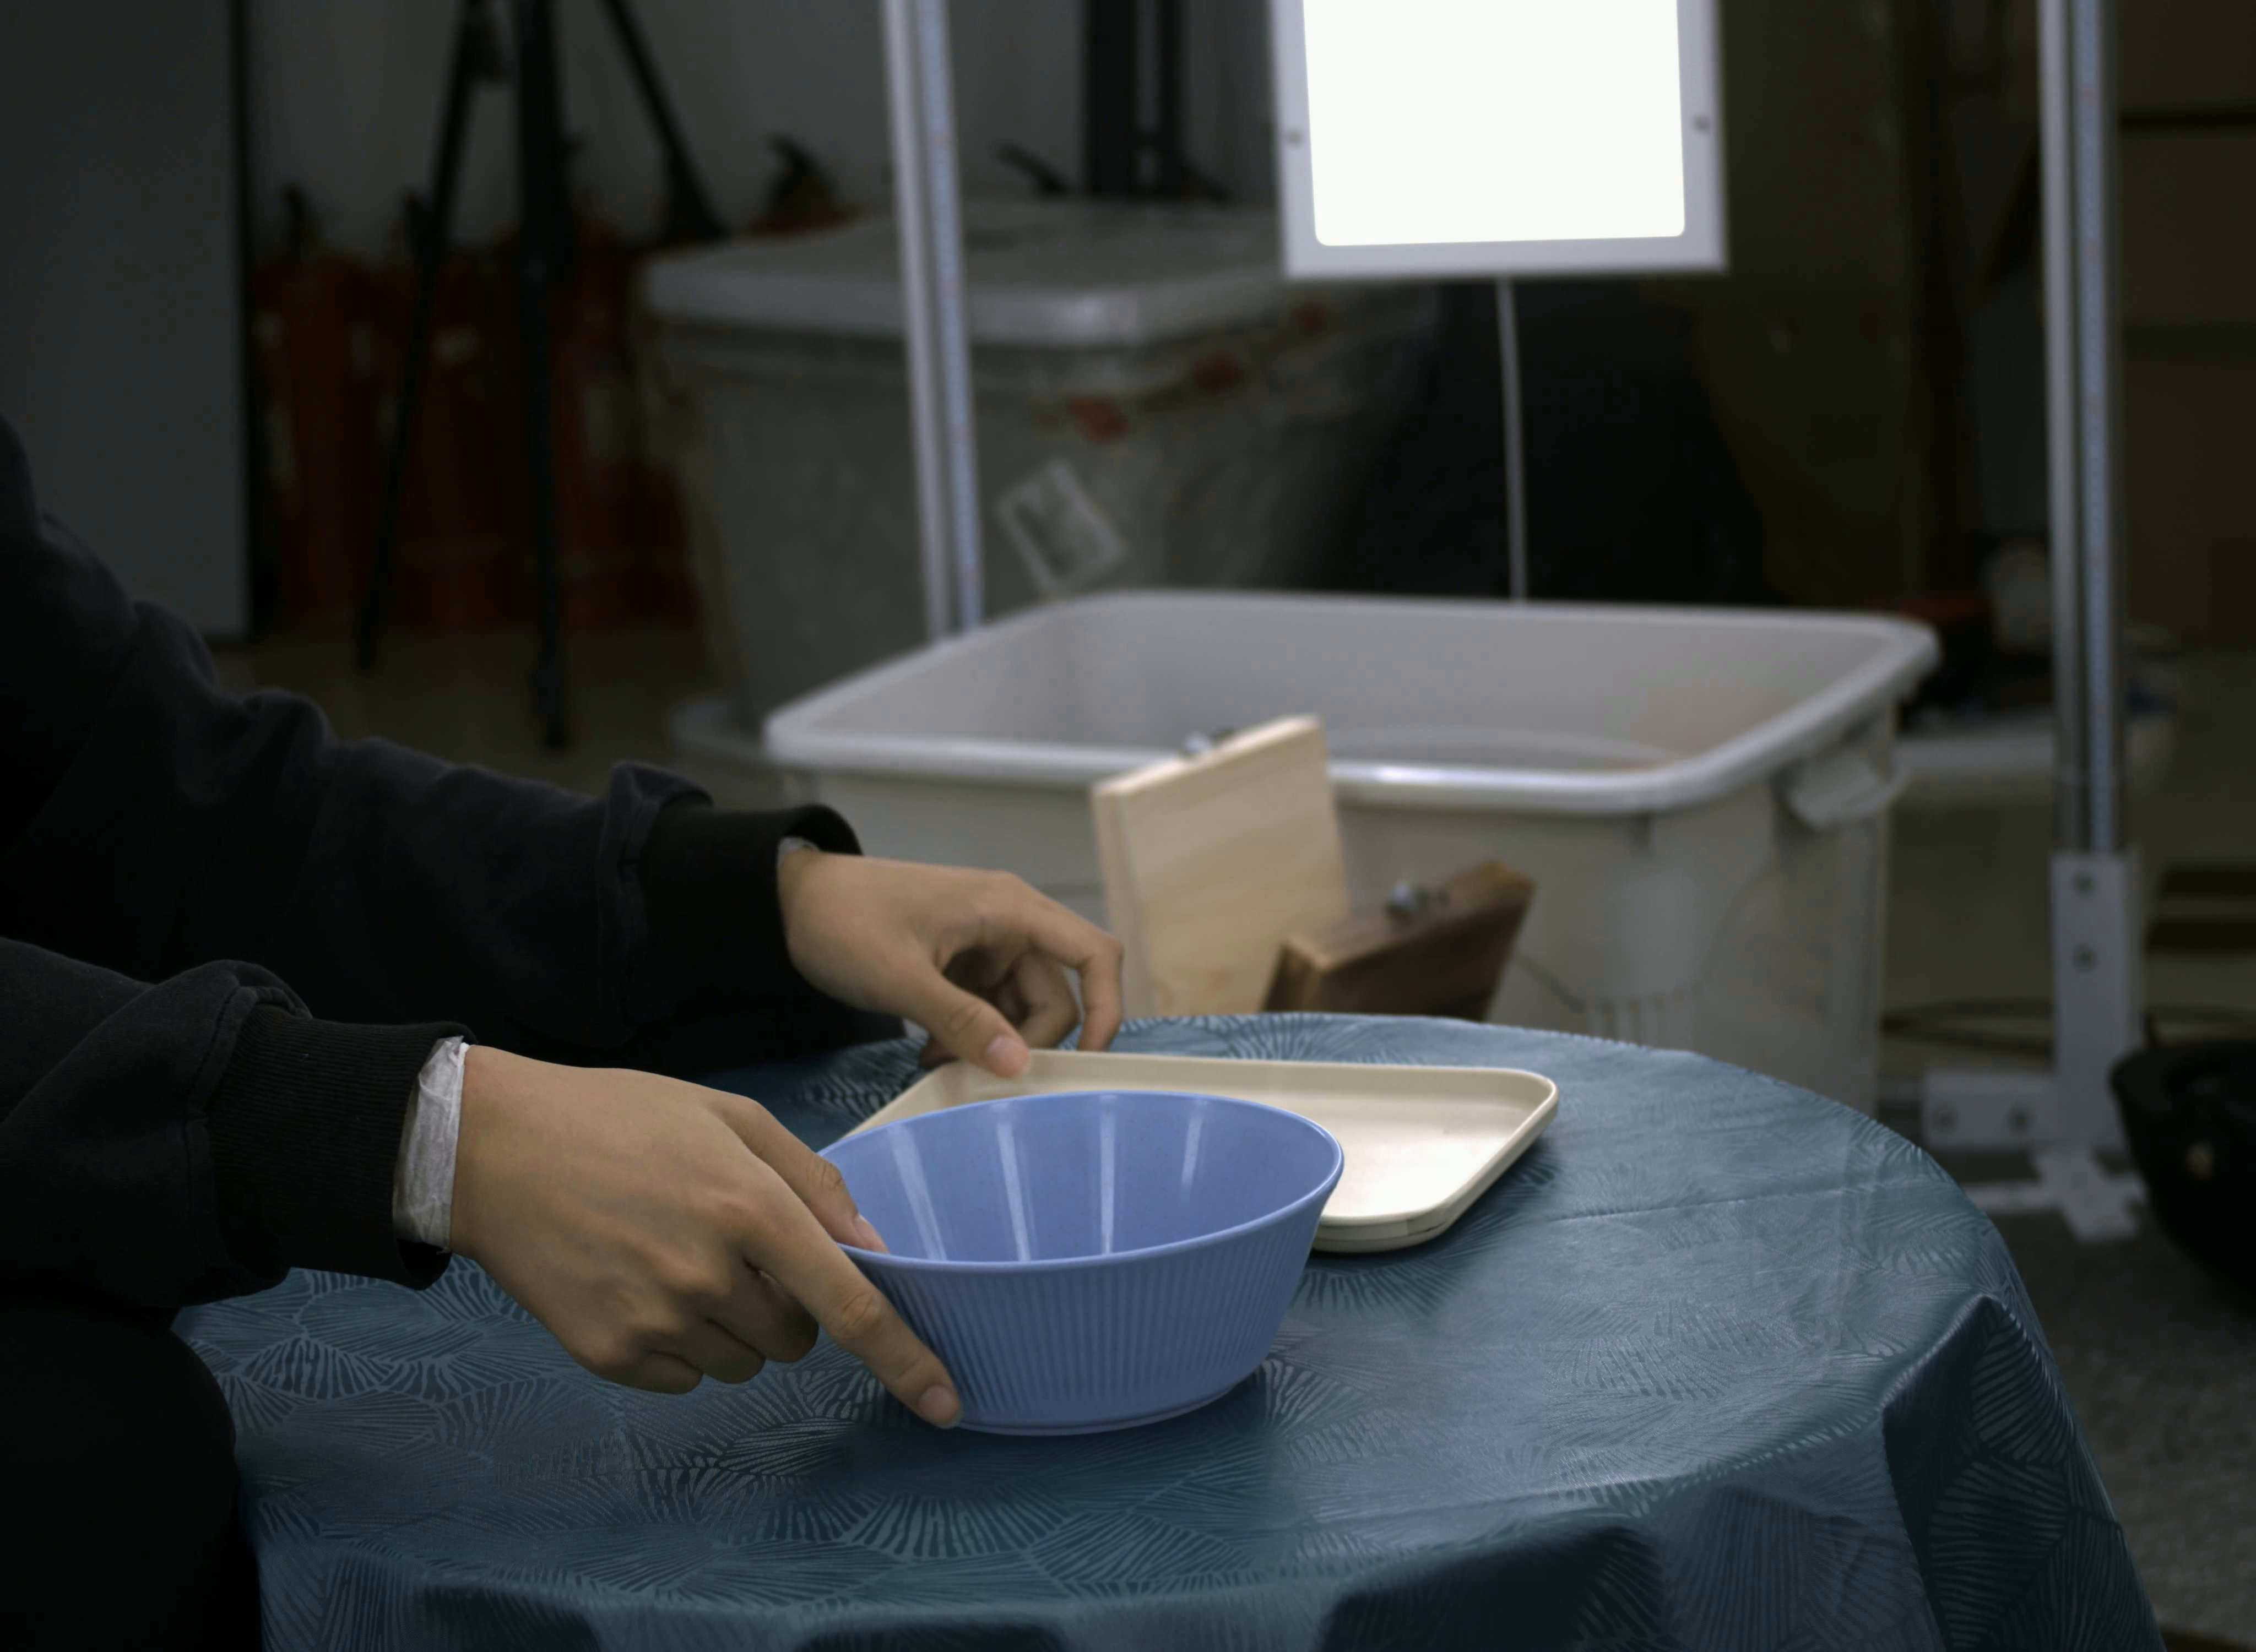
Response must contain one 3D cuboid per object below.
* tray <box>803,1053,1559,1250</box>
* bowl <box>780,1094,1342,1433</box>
[{"bbox_3d":[0.020,0.113,1.910,0.243,0.017,0.168,1,14,24],"label":"tray"},{"bbox_3d":[-0.018,0.138,1.708,0.175,0.070,0.176,-5,13,0],"label":"bowl"}]
